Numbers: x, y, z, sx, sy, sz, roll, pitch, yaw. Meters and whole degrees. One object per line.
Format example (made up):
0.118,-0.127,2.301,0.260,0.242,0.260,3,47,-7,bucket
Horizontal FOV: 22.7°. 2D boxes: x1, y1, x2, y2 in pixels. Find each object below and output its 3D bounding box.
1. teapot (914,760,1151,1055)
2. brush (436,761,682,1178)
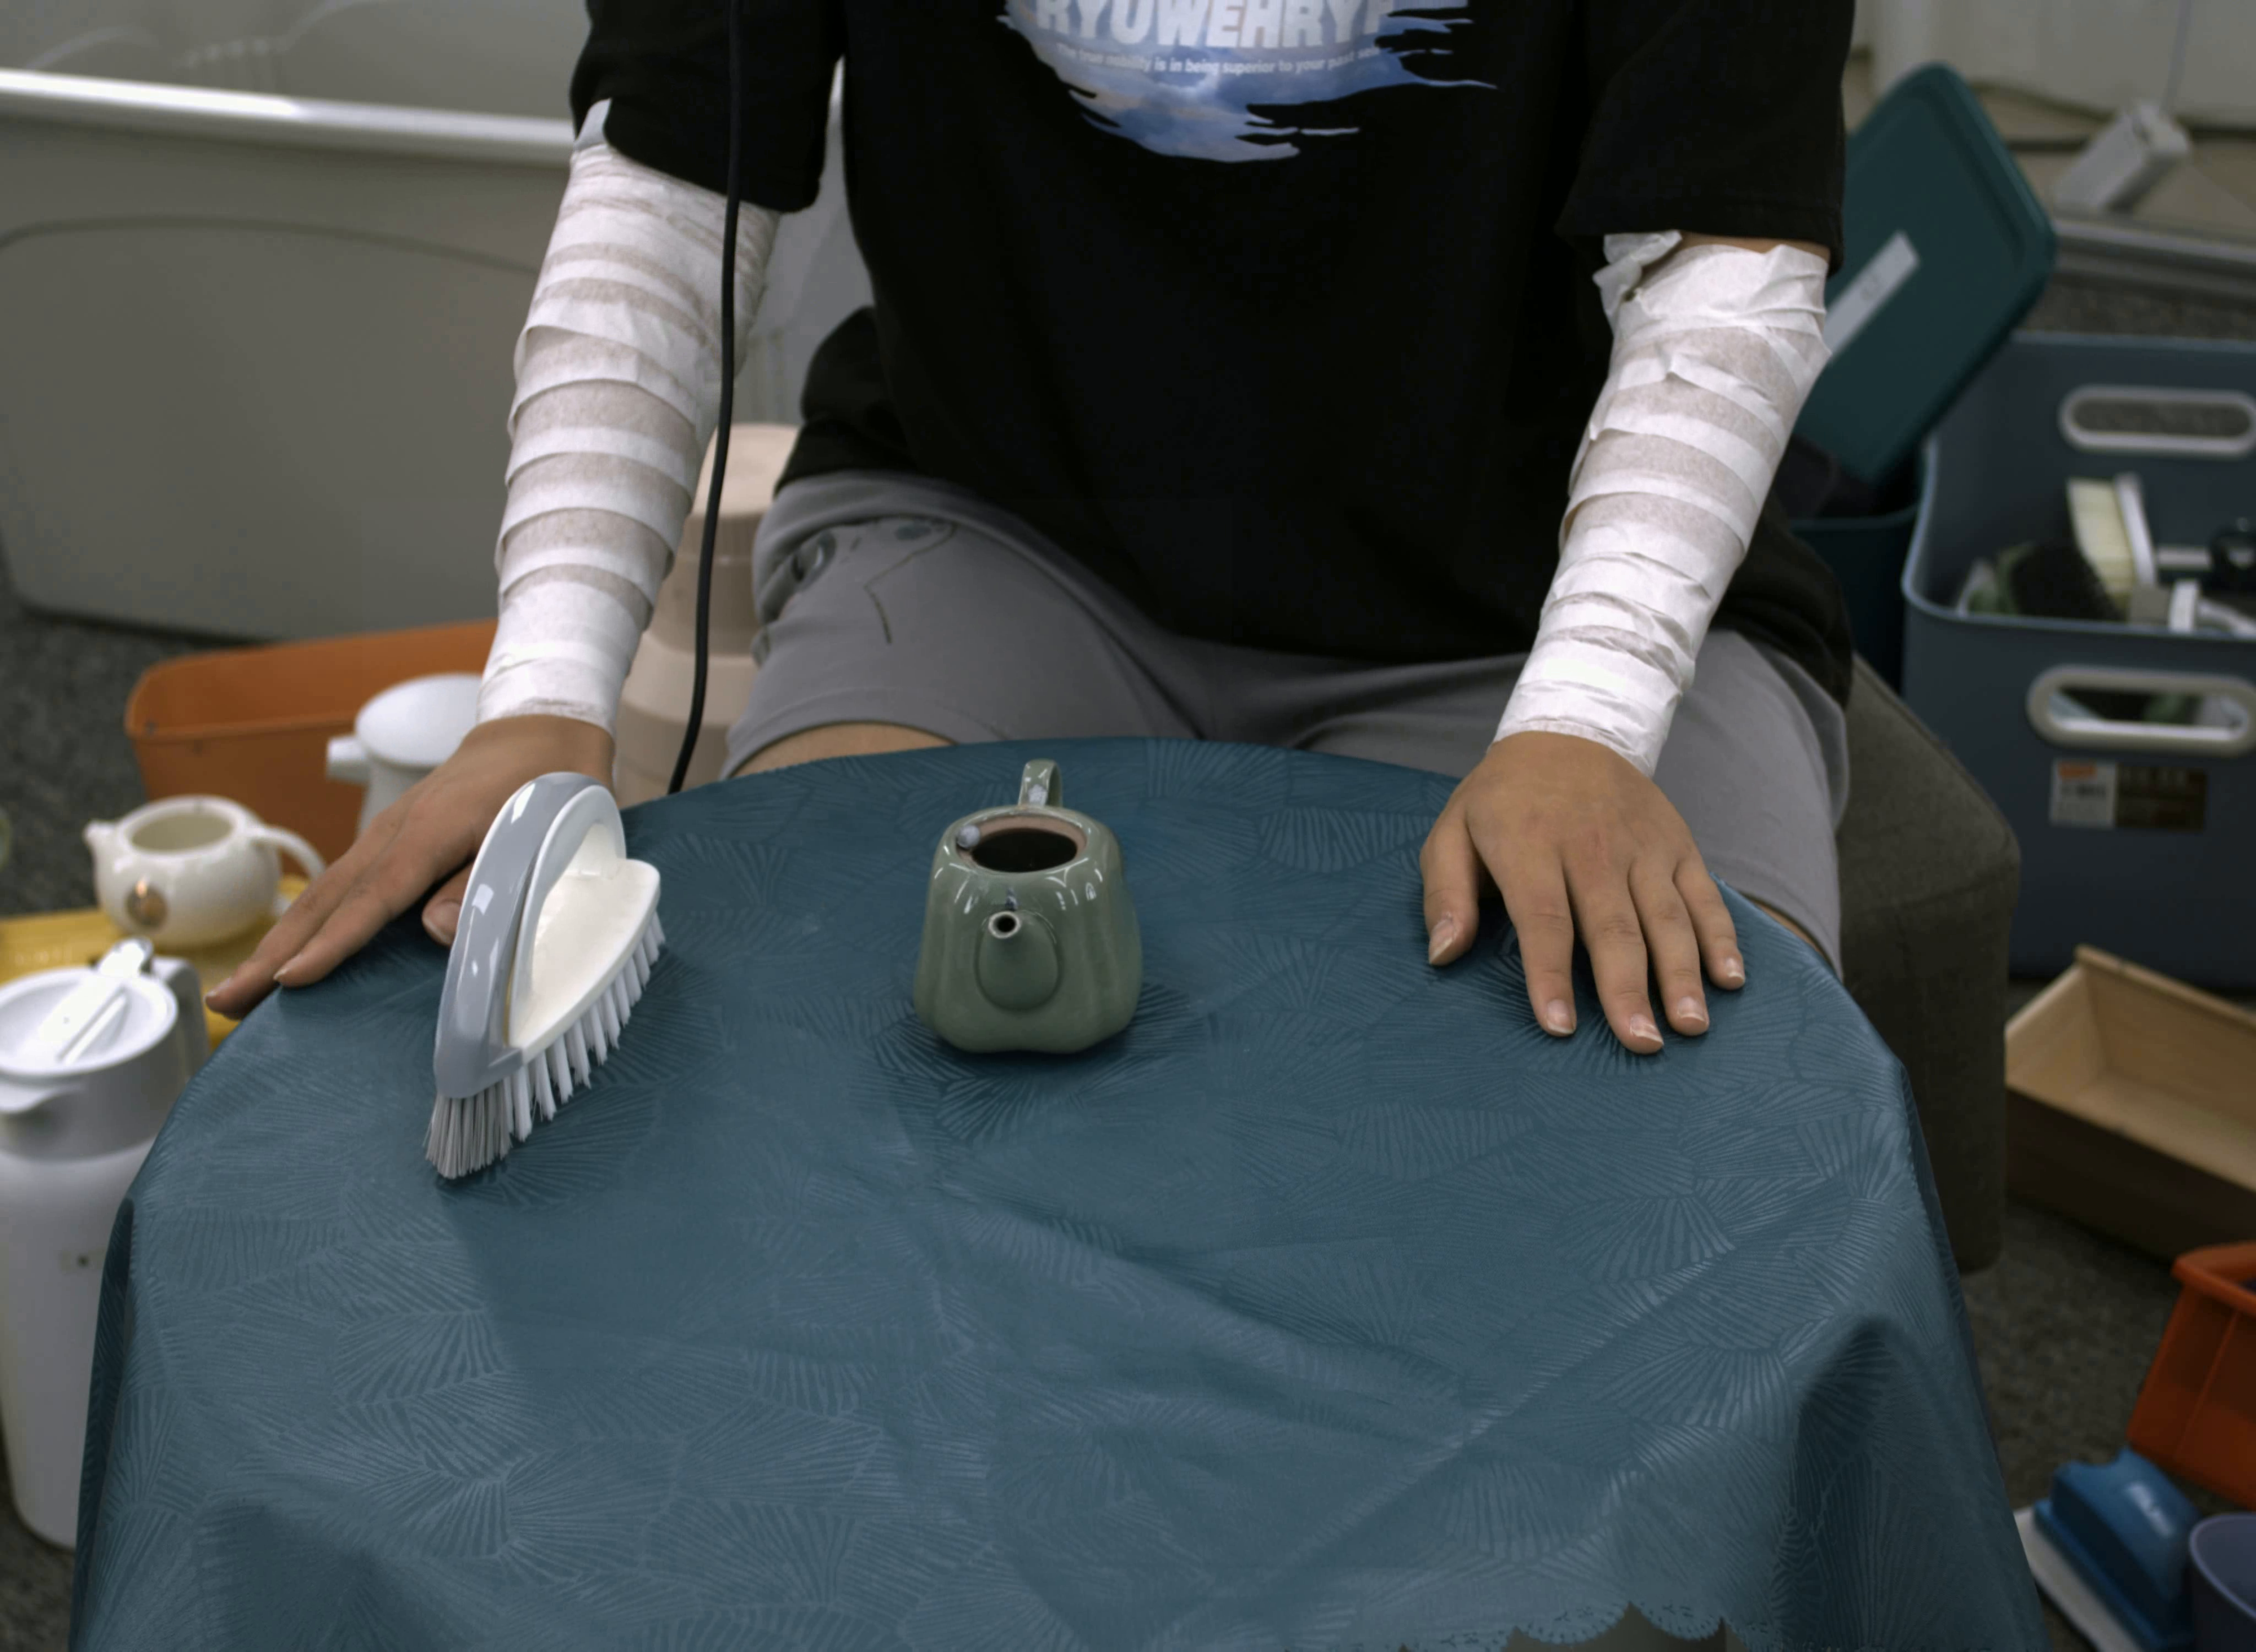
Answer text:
-0.033,0.034,1.958,0.079,0.074,0.134,3,26,8,teapot
-0.206,0.042,1.939,0.061,0.093,0.178,1,28,14,brush
